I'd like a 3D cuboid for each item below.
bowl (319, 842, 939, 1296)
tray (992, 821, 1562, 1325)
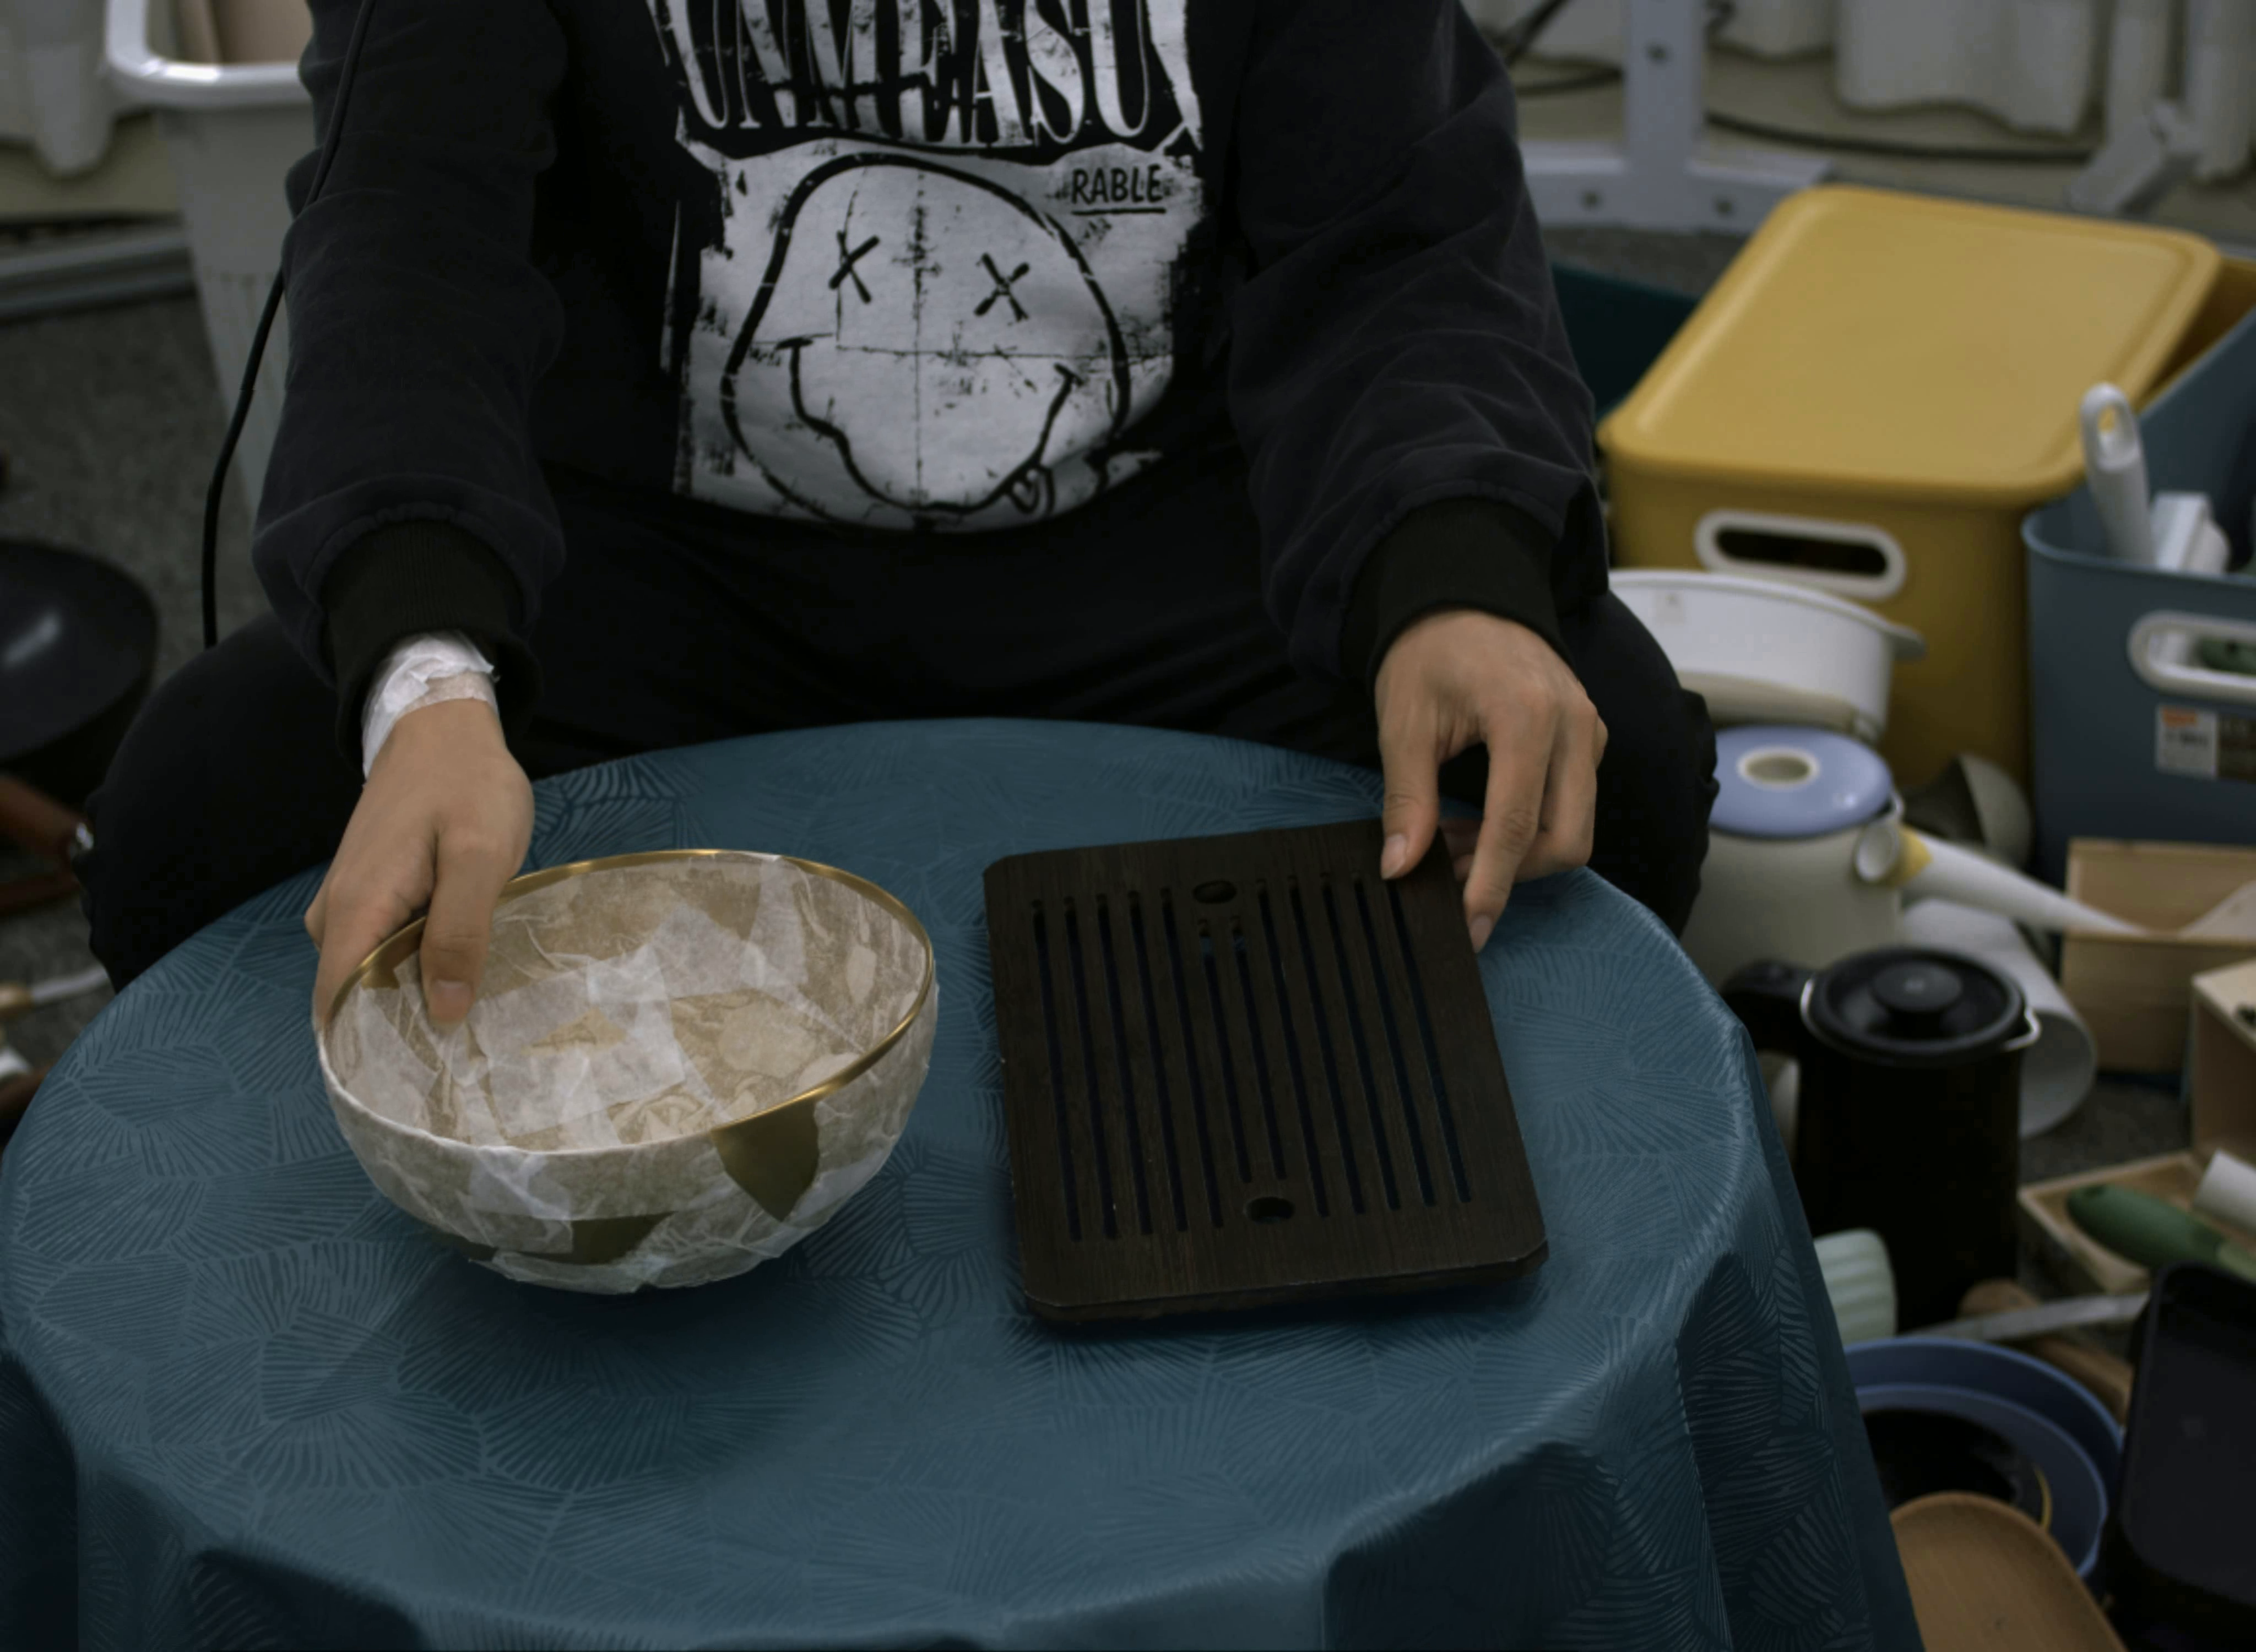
[{"bbox_3d":[-0.153,0.091,1.833,0.213,0.093,0.218,-6,26,3],"label":"bowl"},{"bbox_3d":[0.045,0.082,1.912,0.169,0.018,0.310,-5,27,-2],"label":"tray"}]
